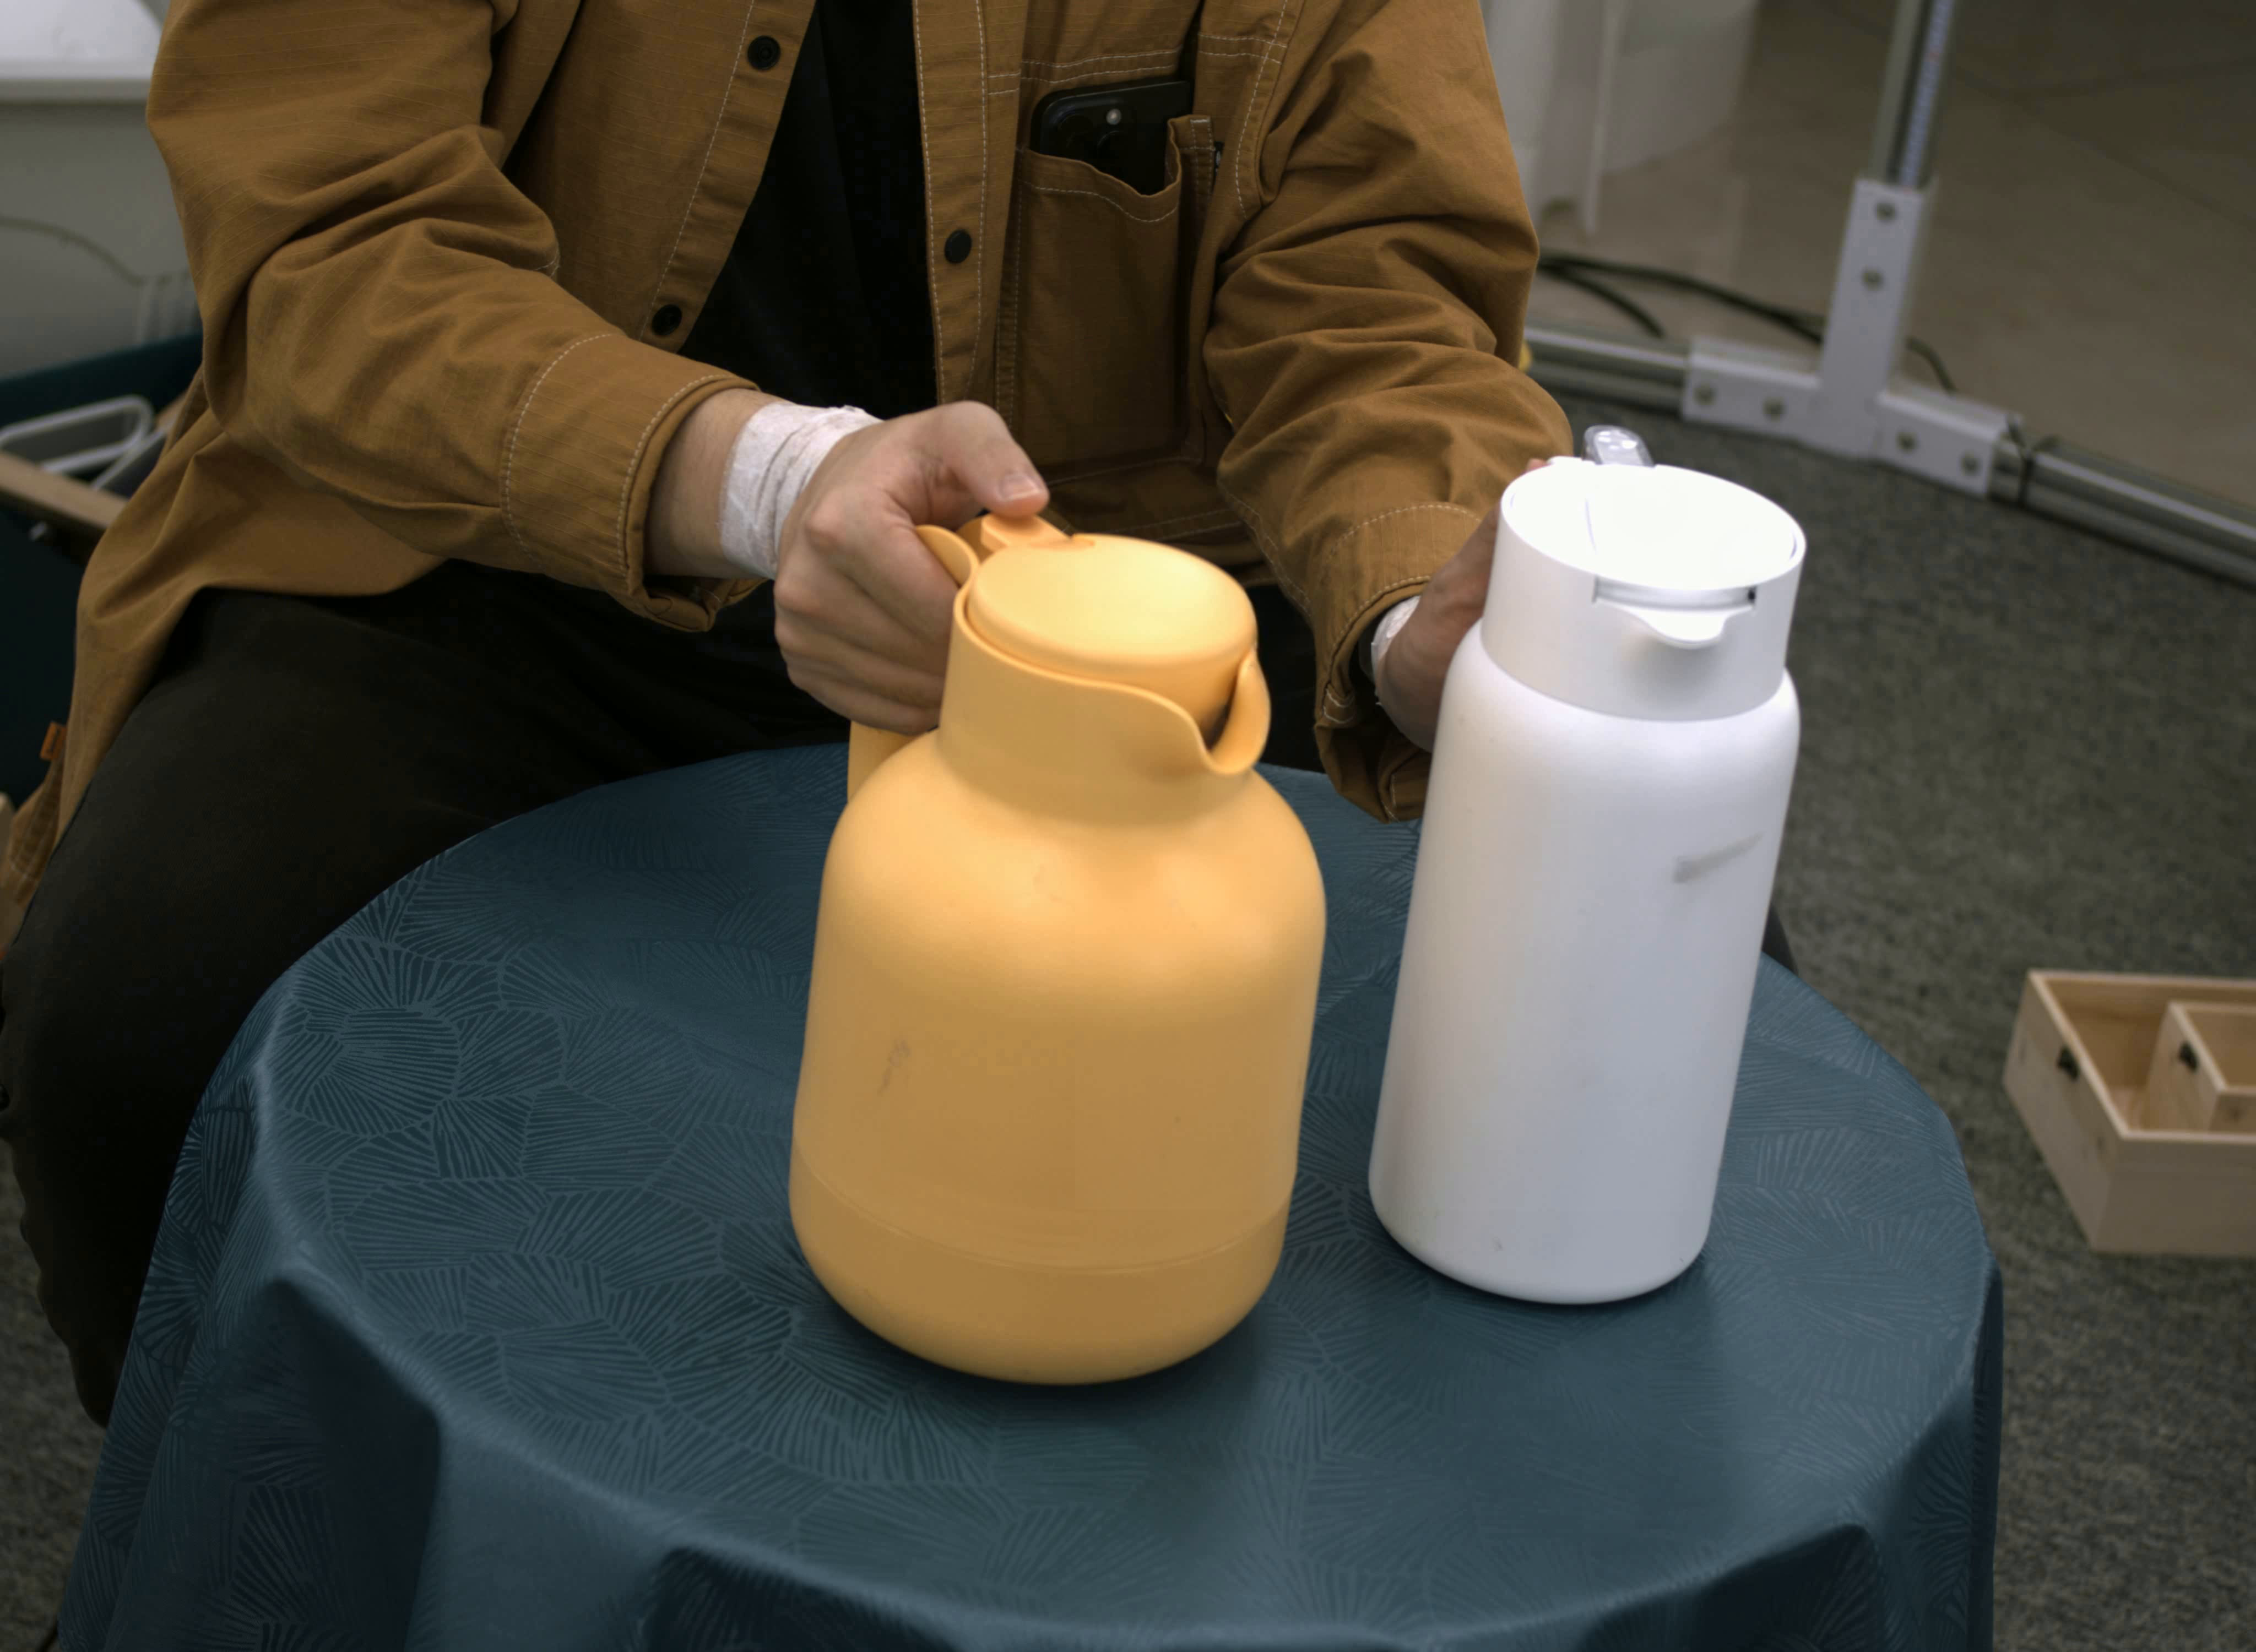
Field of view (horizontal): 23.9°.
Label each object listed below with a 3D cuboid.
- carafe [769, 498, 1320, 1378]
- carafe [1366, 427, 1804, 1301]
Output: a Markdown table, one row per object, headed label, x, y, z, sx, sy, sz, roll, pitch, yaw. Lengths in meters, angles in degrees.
| label | x | y | z | sx | sy | sz | roll | pitch | yaw |
| --- | --- | --- | --- | --- | --- | --- | --- | --- | --- |
| carafe | -0.030 | 0.026 | 1.700 | 0.162 | 0.260 | 0.204 | -6 | 30 | -31 |
| carafe | 0.149 | 0.009 | 1.769 | 0.123 | 0.268 | 0.174 | 0 | 27 | -8 |
